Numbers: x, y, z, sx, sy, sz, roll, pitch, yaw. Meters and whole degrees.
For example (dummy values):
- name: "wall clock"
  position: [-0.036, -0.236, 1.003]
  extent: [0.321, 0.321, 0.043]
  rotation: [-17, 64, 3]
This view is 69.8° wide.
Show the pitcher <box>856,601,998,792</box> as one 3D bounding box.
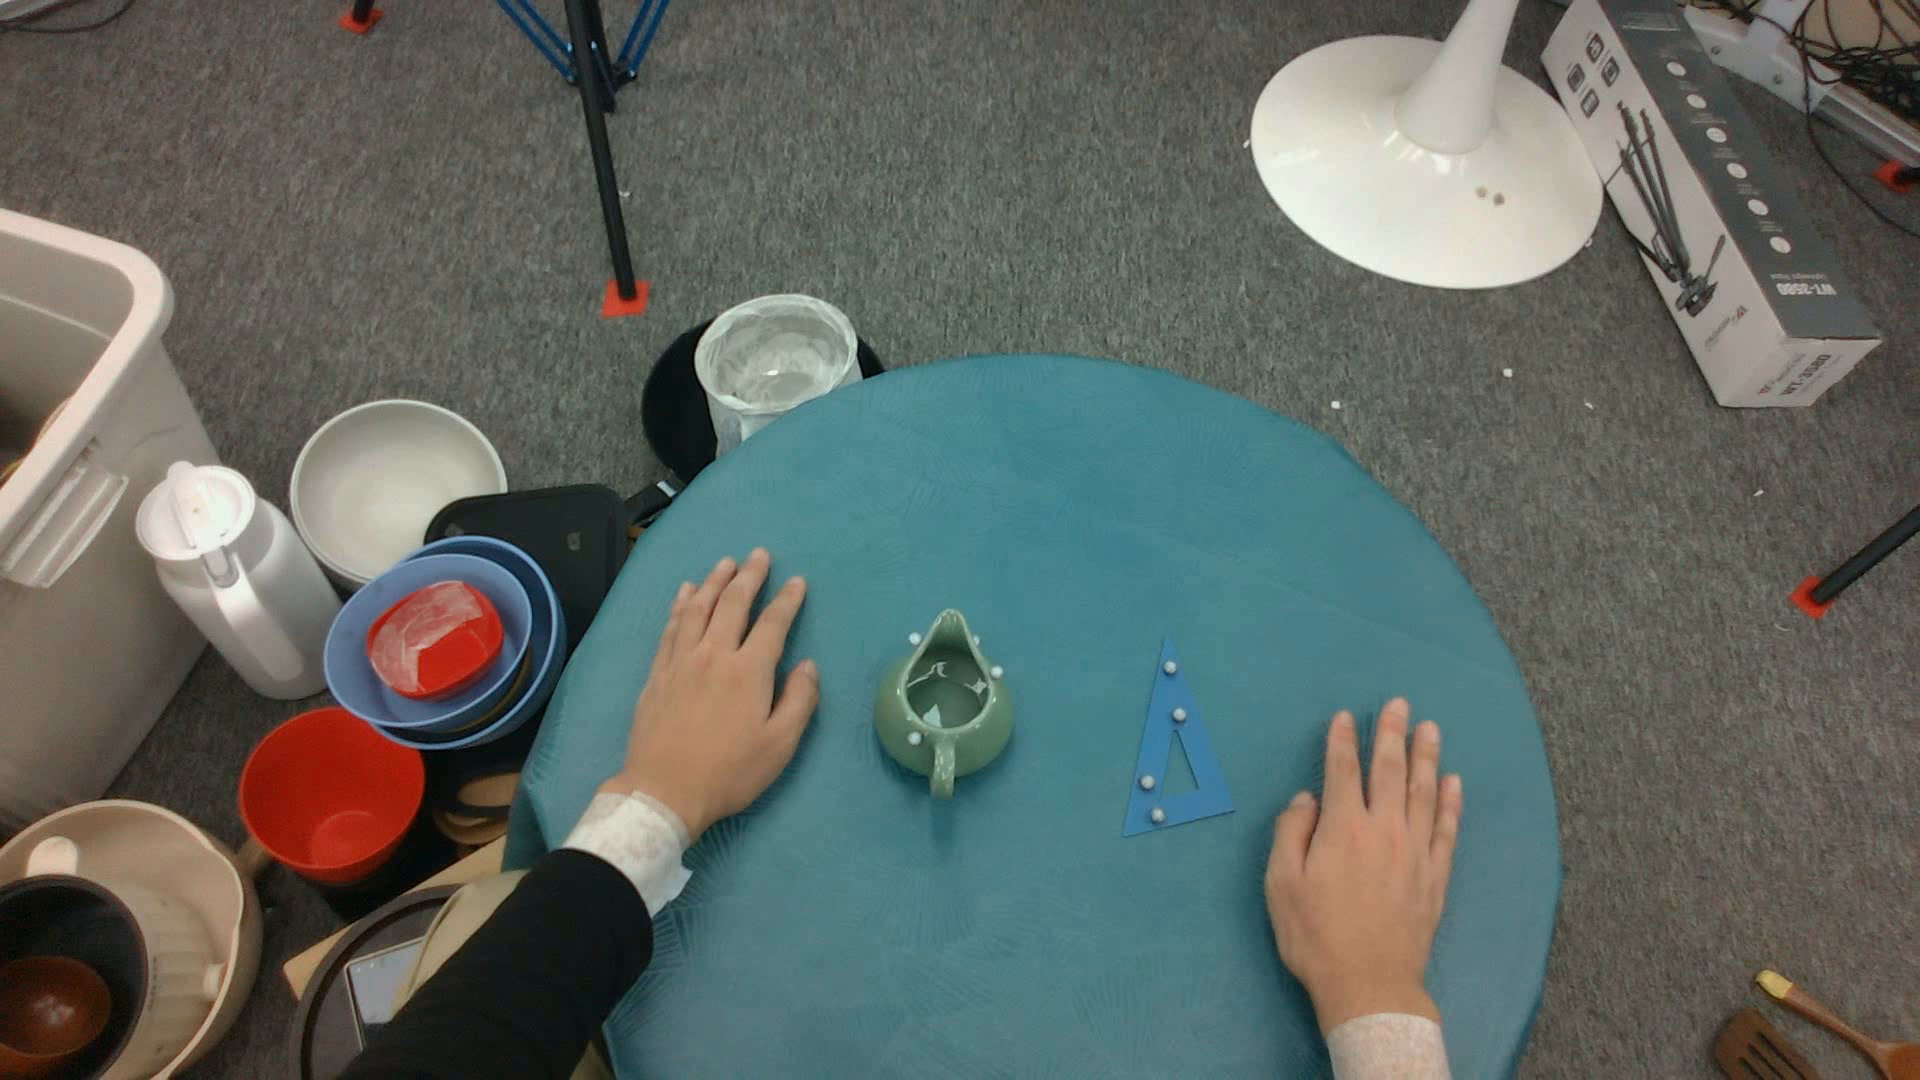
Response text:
- name: "pitcher"
  position: [-0.019, 0.097, 0.802]
  extent: [0.084, 0.056, 0.113]
  rotation: [1, 58, -2]

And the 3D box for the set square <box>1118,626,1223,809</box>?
- name: "set square"
  position: [0.139, 0.113, 0.839]
  extent: [0.061, 0.006, 0.132]
  rotation: [18, 58, 6]
